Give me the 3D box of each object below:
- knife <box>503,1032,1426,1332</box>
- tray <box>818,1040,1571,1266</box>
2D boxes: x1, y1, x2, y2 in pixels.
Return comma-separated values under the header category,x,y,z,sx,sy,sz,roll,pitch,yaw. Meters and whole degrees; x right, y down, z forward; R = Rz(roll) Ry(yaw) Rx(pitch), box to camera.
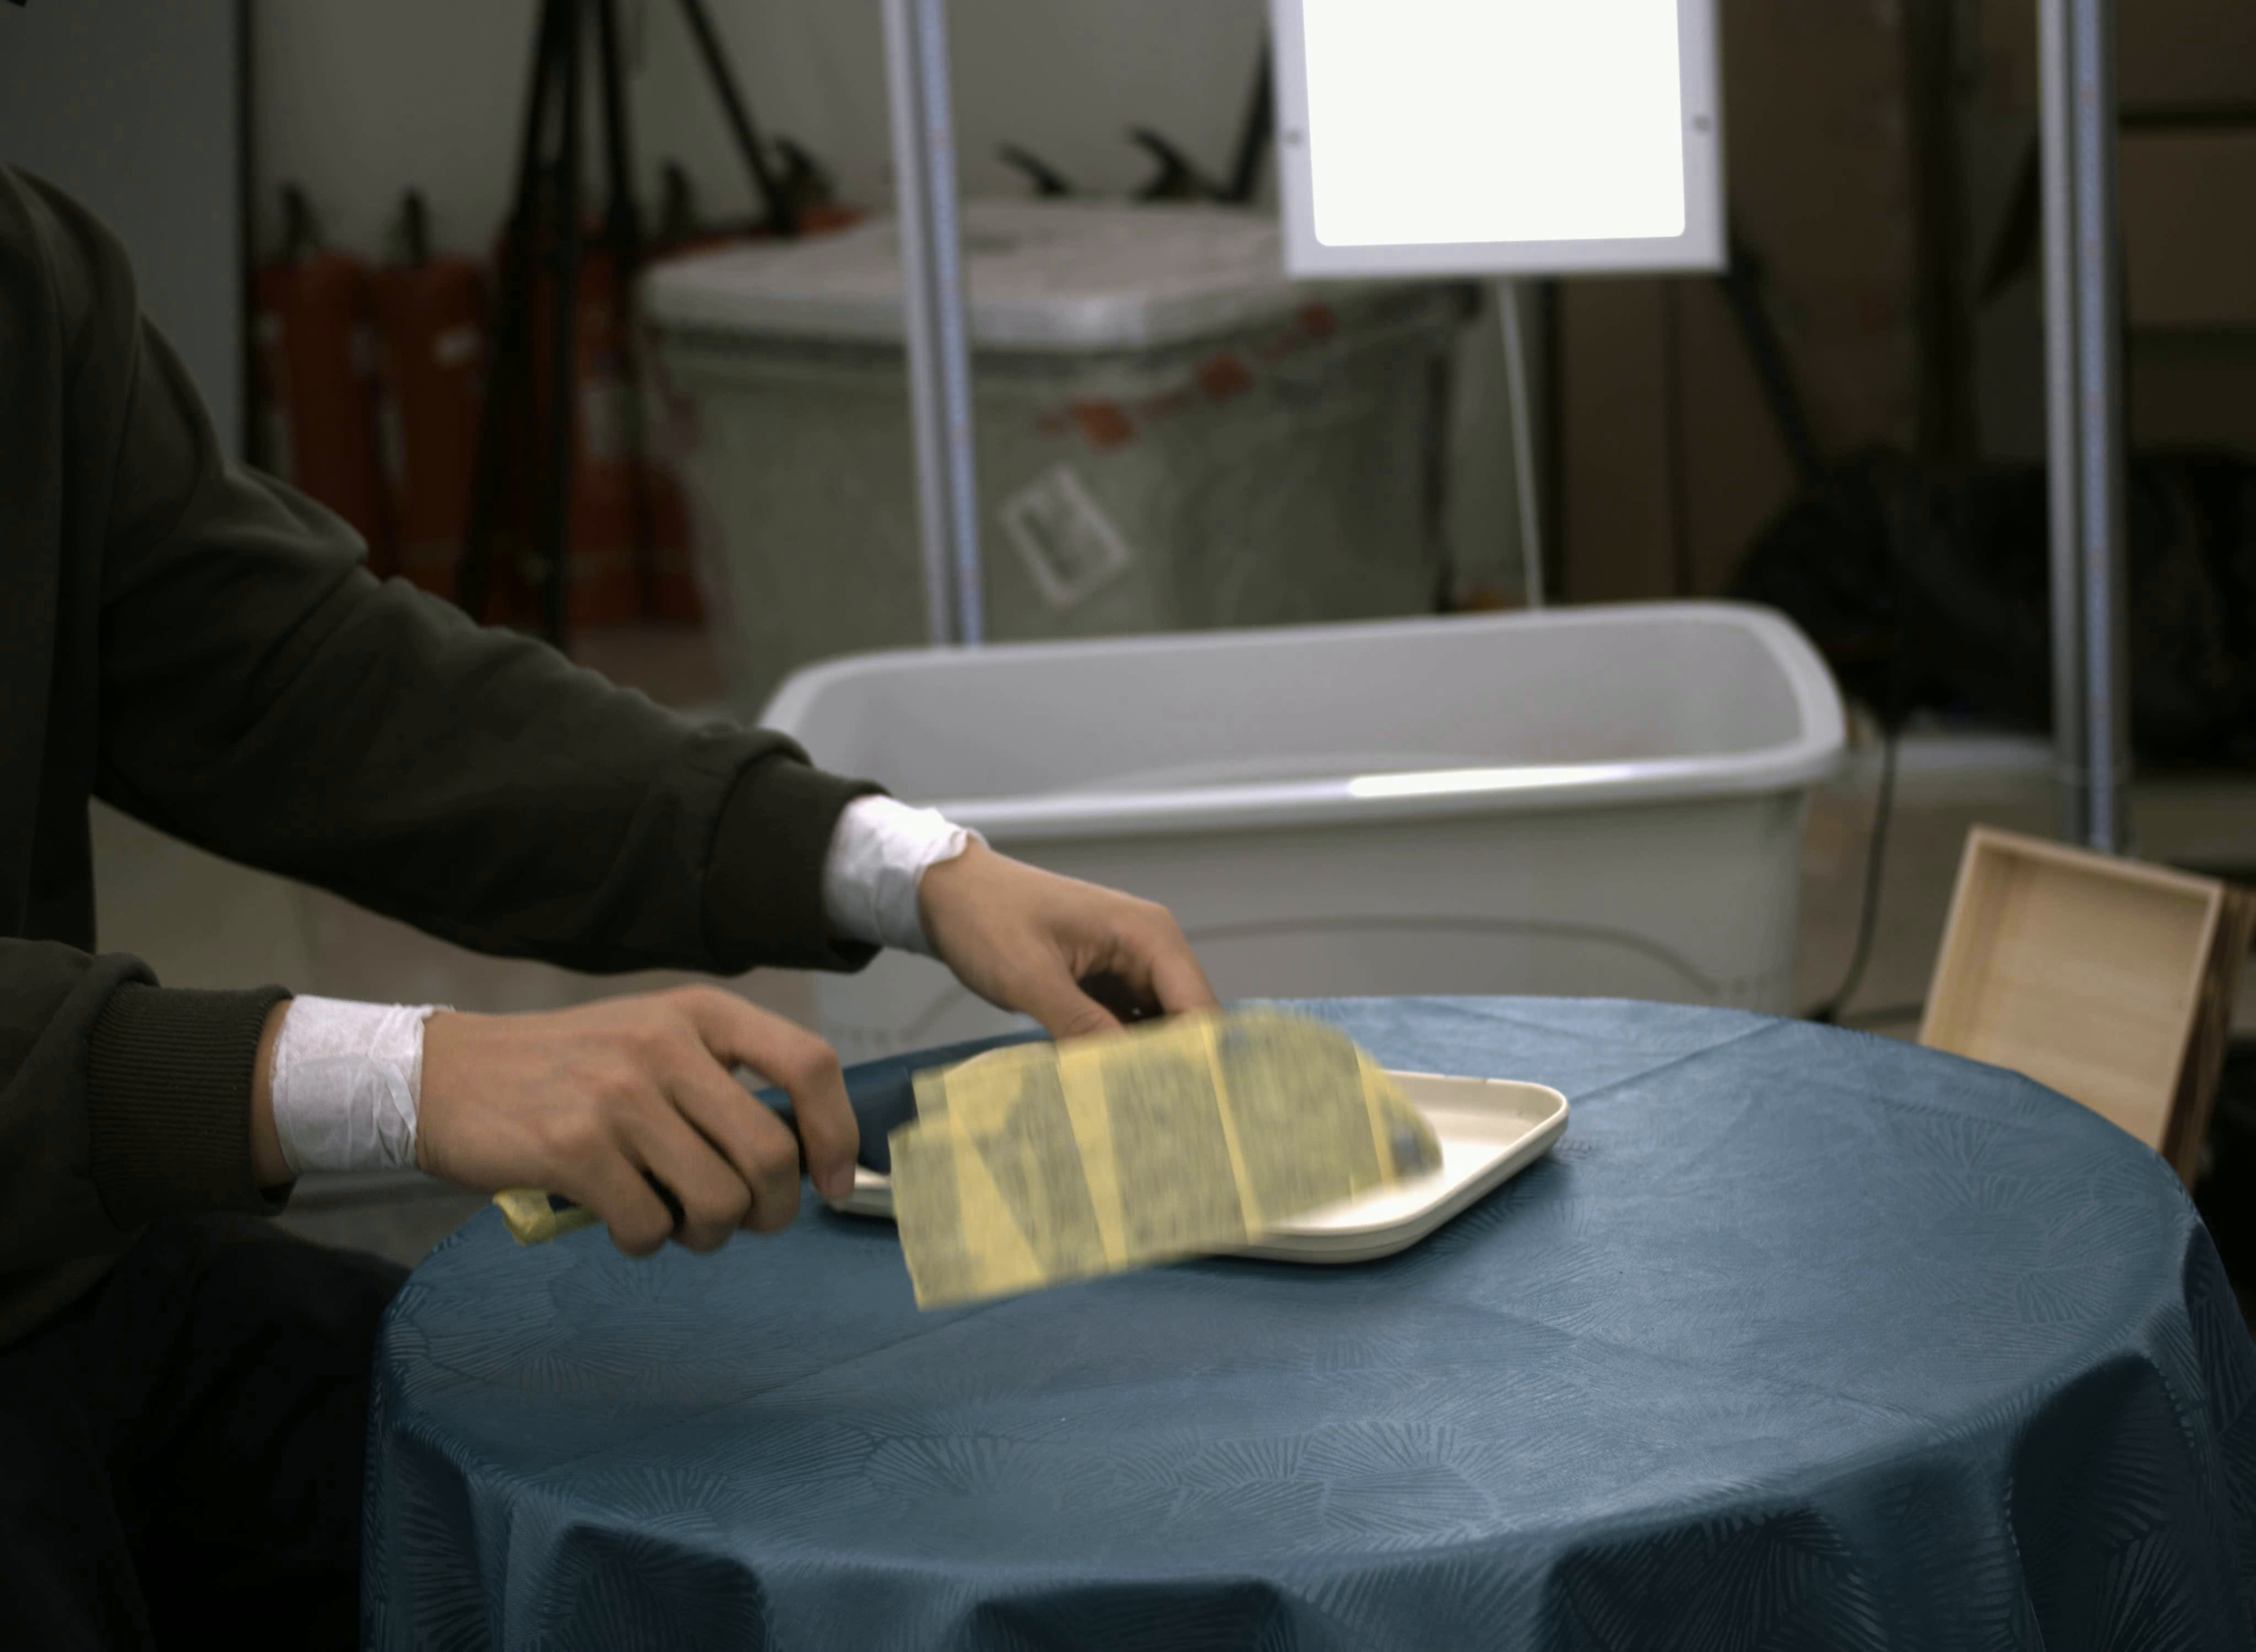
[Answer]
category,x,y,z,sx,sy,sz,roll,pitch,yaw
knife,-0.049,0.116,1.711,0.288,0.081,0.027,-8,-19,0
tray,0.022,0.113,1.911,0.244,0.017,0.167,4,17,31
